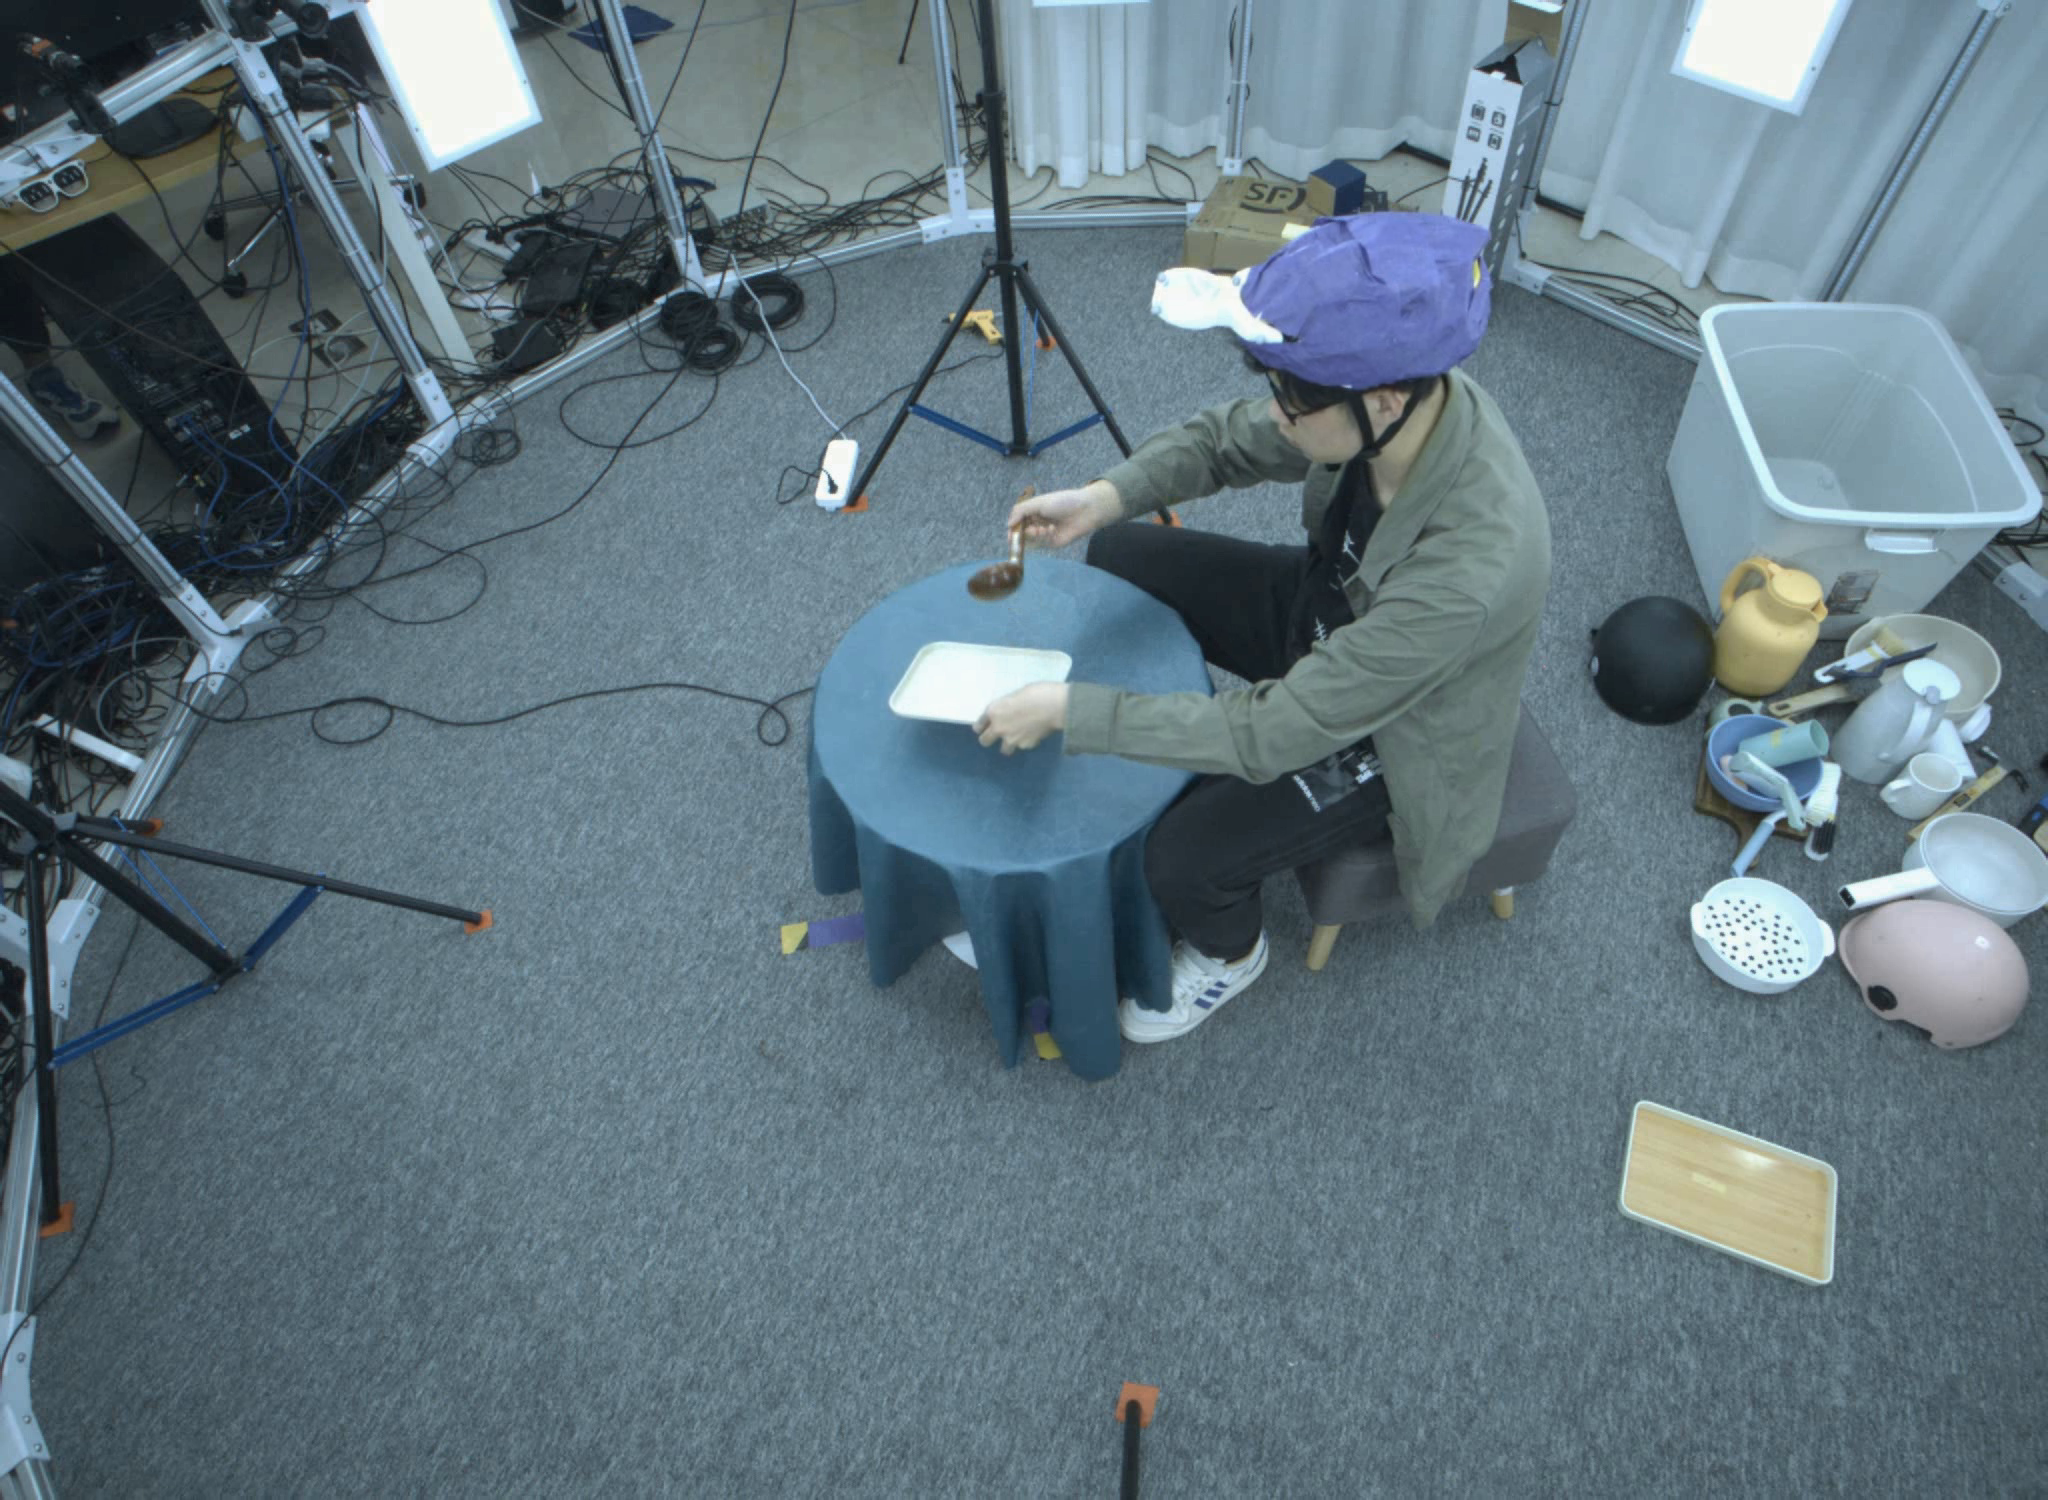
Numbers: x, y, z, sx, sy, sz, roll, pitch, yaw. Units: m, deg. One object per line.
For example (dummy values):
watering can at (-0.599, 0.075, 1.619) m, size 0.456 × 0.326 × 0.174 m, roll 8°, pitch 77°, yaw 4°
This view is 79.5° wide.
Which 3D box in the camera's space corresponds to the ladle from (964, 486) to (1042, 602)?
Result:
ladle at (-0.026, -0.304, 1.716) m, size 0.081 × 0.078 × 0.272 m, roll -21°, pitch 41°, yaw 31°

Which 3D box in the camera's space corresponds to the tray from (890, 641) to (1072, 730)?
tray at (-0.060, -0.093, 1.755) m, size 0.237 × 0.018 × 0.171 m, roll 7°, pitch 44°, yaw 16°
